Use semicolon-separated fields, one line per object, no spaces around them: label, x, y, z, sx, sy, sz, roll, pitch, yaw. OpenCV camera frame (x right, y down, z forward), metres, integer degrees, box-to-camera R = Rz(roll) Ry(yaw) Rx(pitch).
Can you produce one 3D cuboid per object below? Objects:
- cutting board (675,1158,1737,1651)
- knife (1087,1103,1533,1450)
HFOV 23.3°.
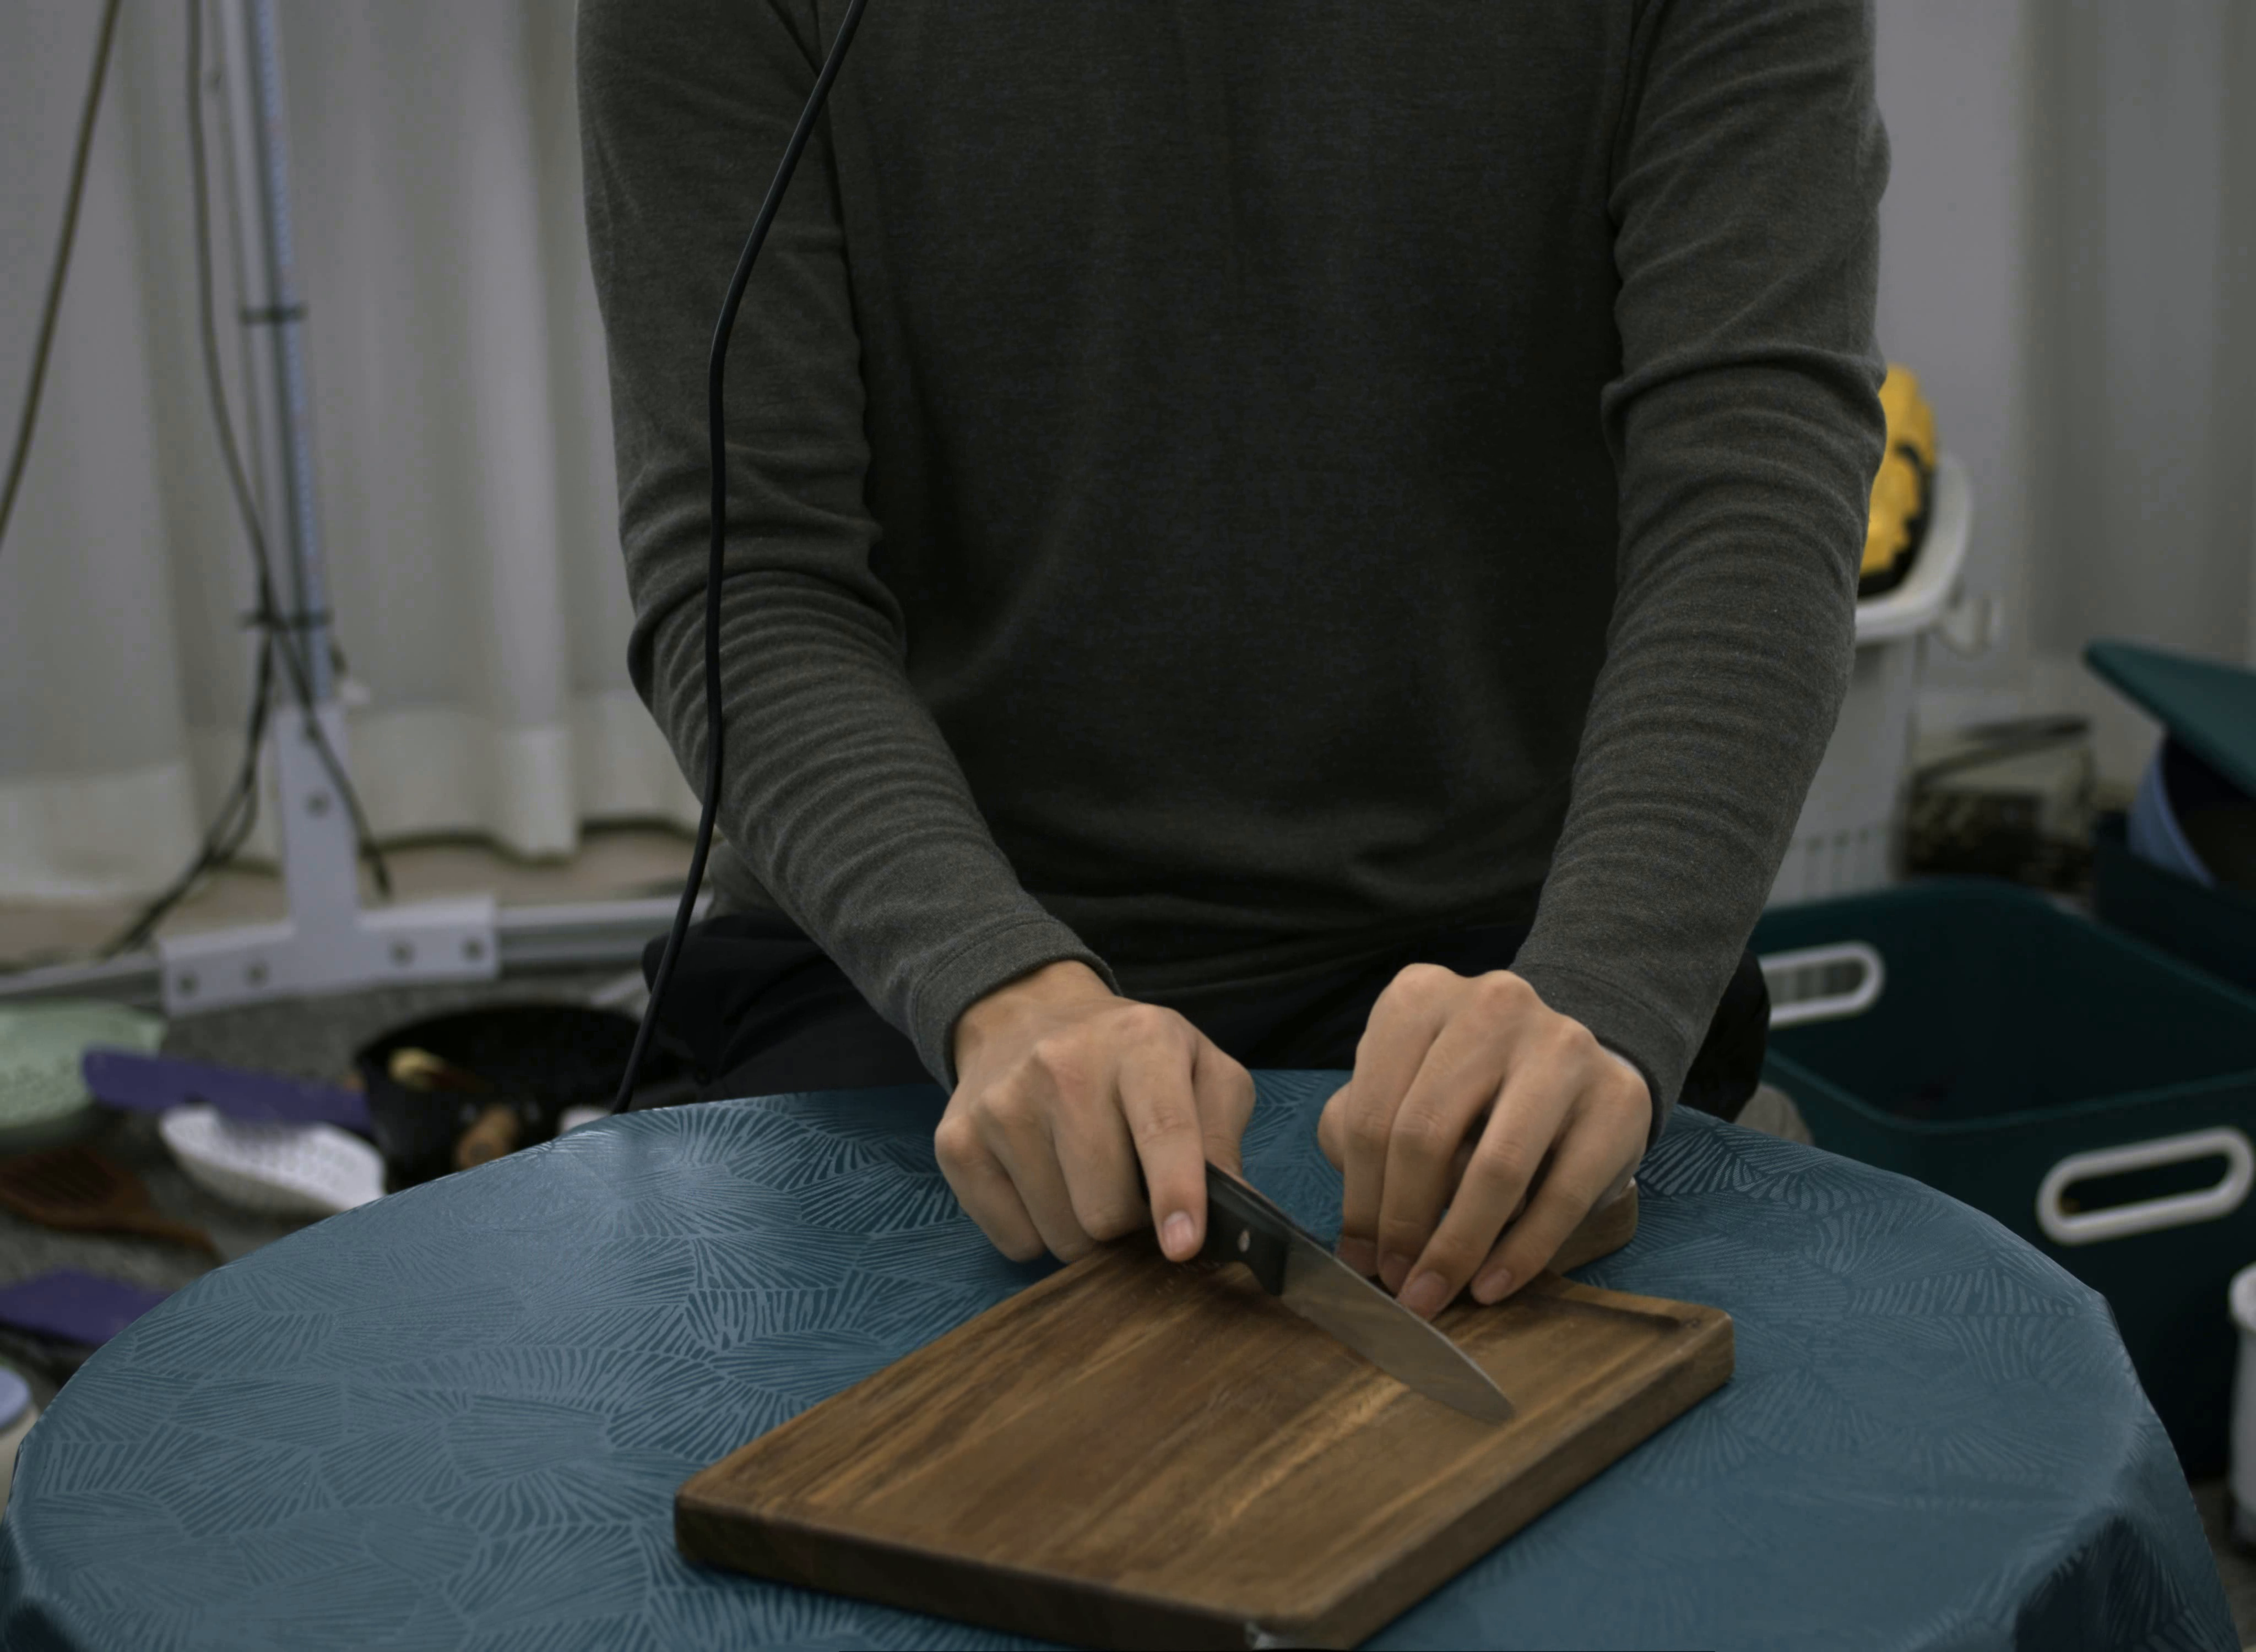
cutting board;0.052;0.153;1.525;0.201;0.023;0.352;7;17;31
knife;0.049;0.125;1.542;0.016;0.024;0.240;-13;24;-26
